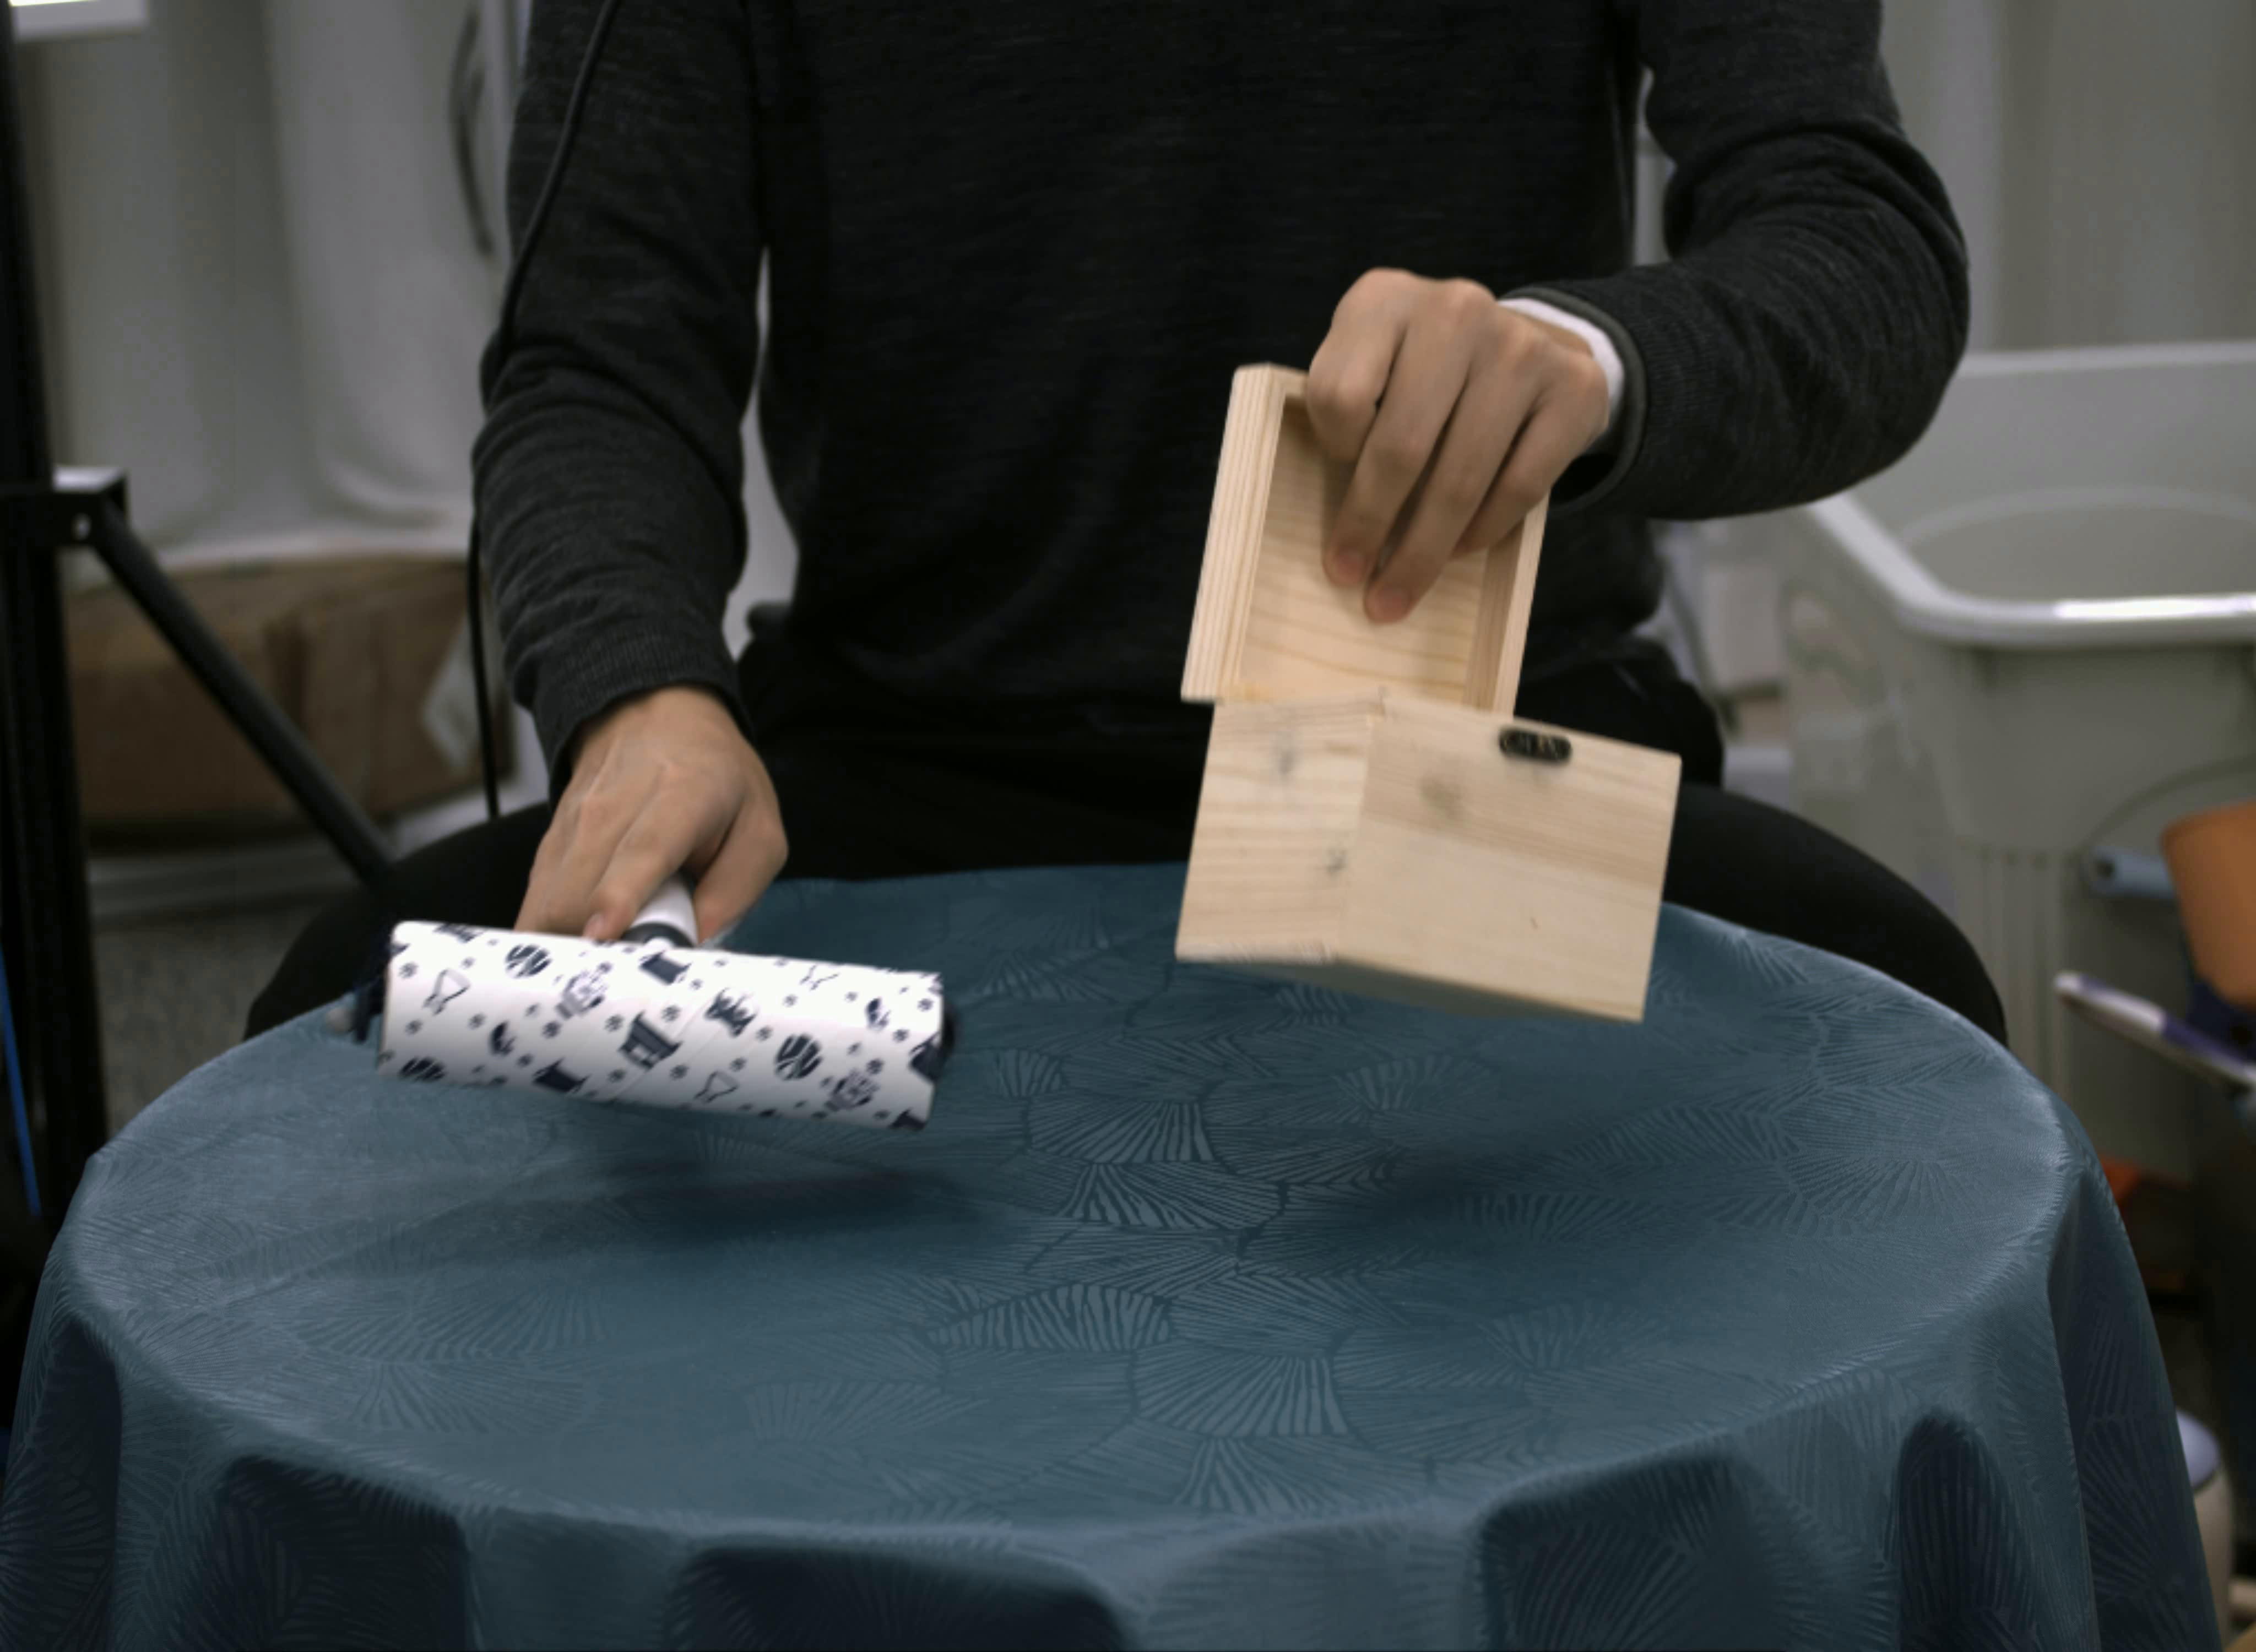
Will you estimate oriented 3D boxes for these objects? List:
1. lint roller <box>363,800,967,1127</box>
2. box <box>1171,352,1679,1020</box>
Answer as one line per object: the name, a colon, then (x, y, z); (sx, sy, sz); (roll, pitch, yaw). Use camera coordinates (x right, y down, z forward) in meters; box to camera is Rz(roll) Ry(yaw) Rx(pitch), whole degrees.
lint roller: (-0.129, 0.025, 1.663); (0.176, 0.050, 0.247); (11, 16, 2)
box: (0.090, -0.044, 1.546); (0.100, 0.185, 0.136); (14, -8, -24)
